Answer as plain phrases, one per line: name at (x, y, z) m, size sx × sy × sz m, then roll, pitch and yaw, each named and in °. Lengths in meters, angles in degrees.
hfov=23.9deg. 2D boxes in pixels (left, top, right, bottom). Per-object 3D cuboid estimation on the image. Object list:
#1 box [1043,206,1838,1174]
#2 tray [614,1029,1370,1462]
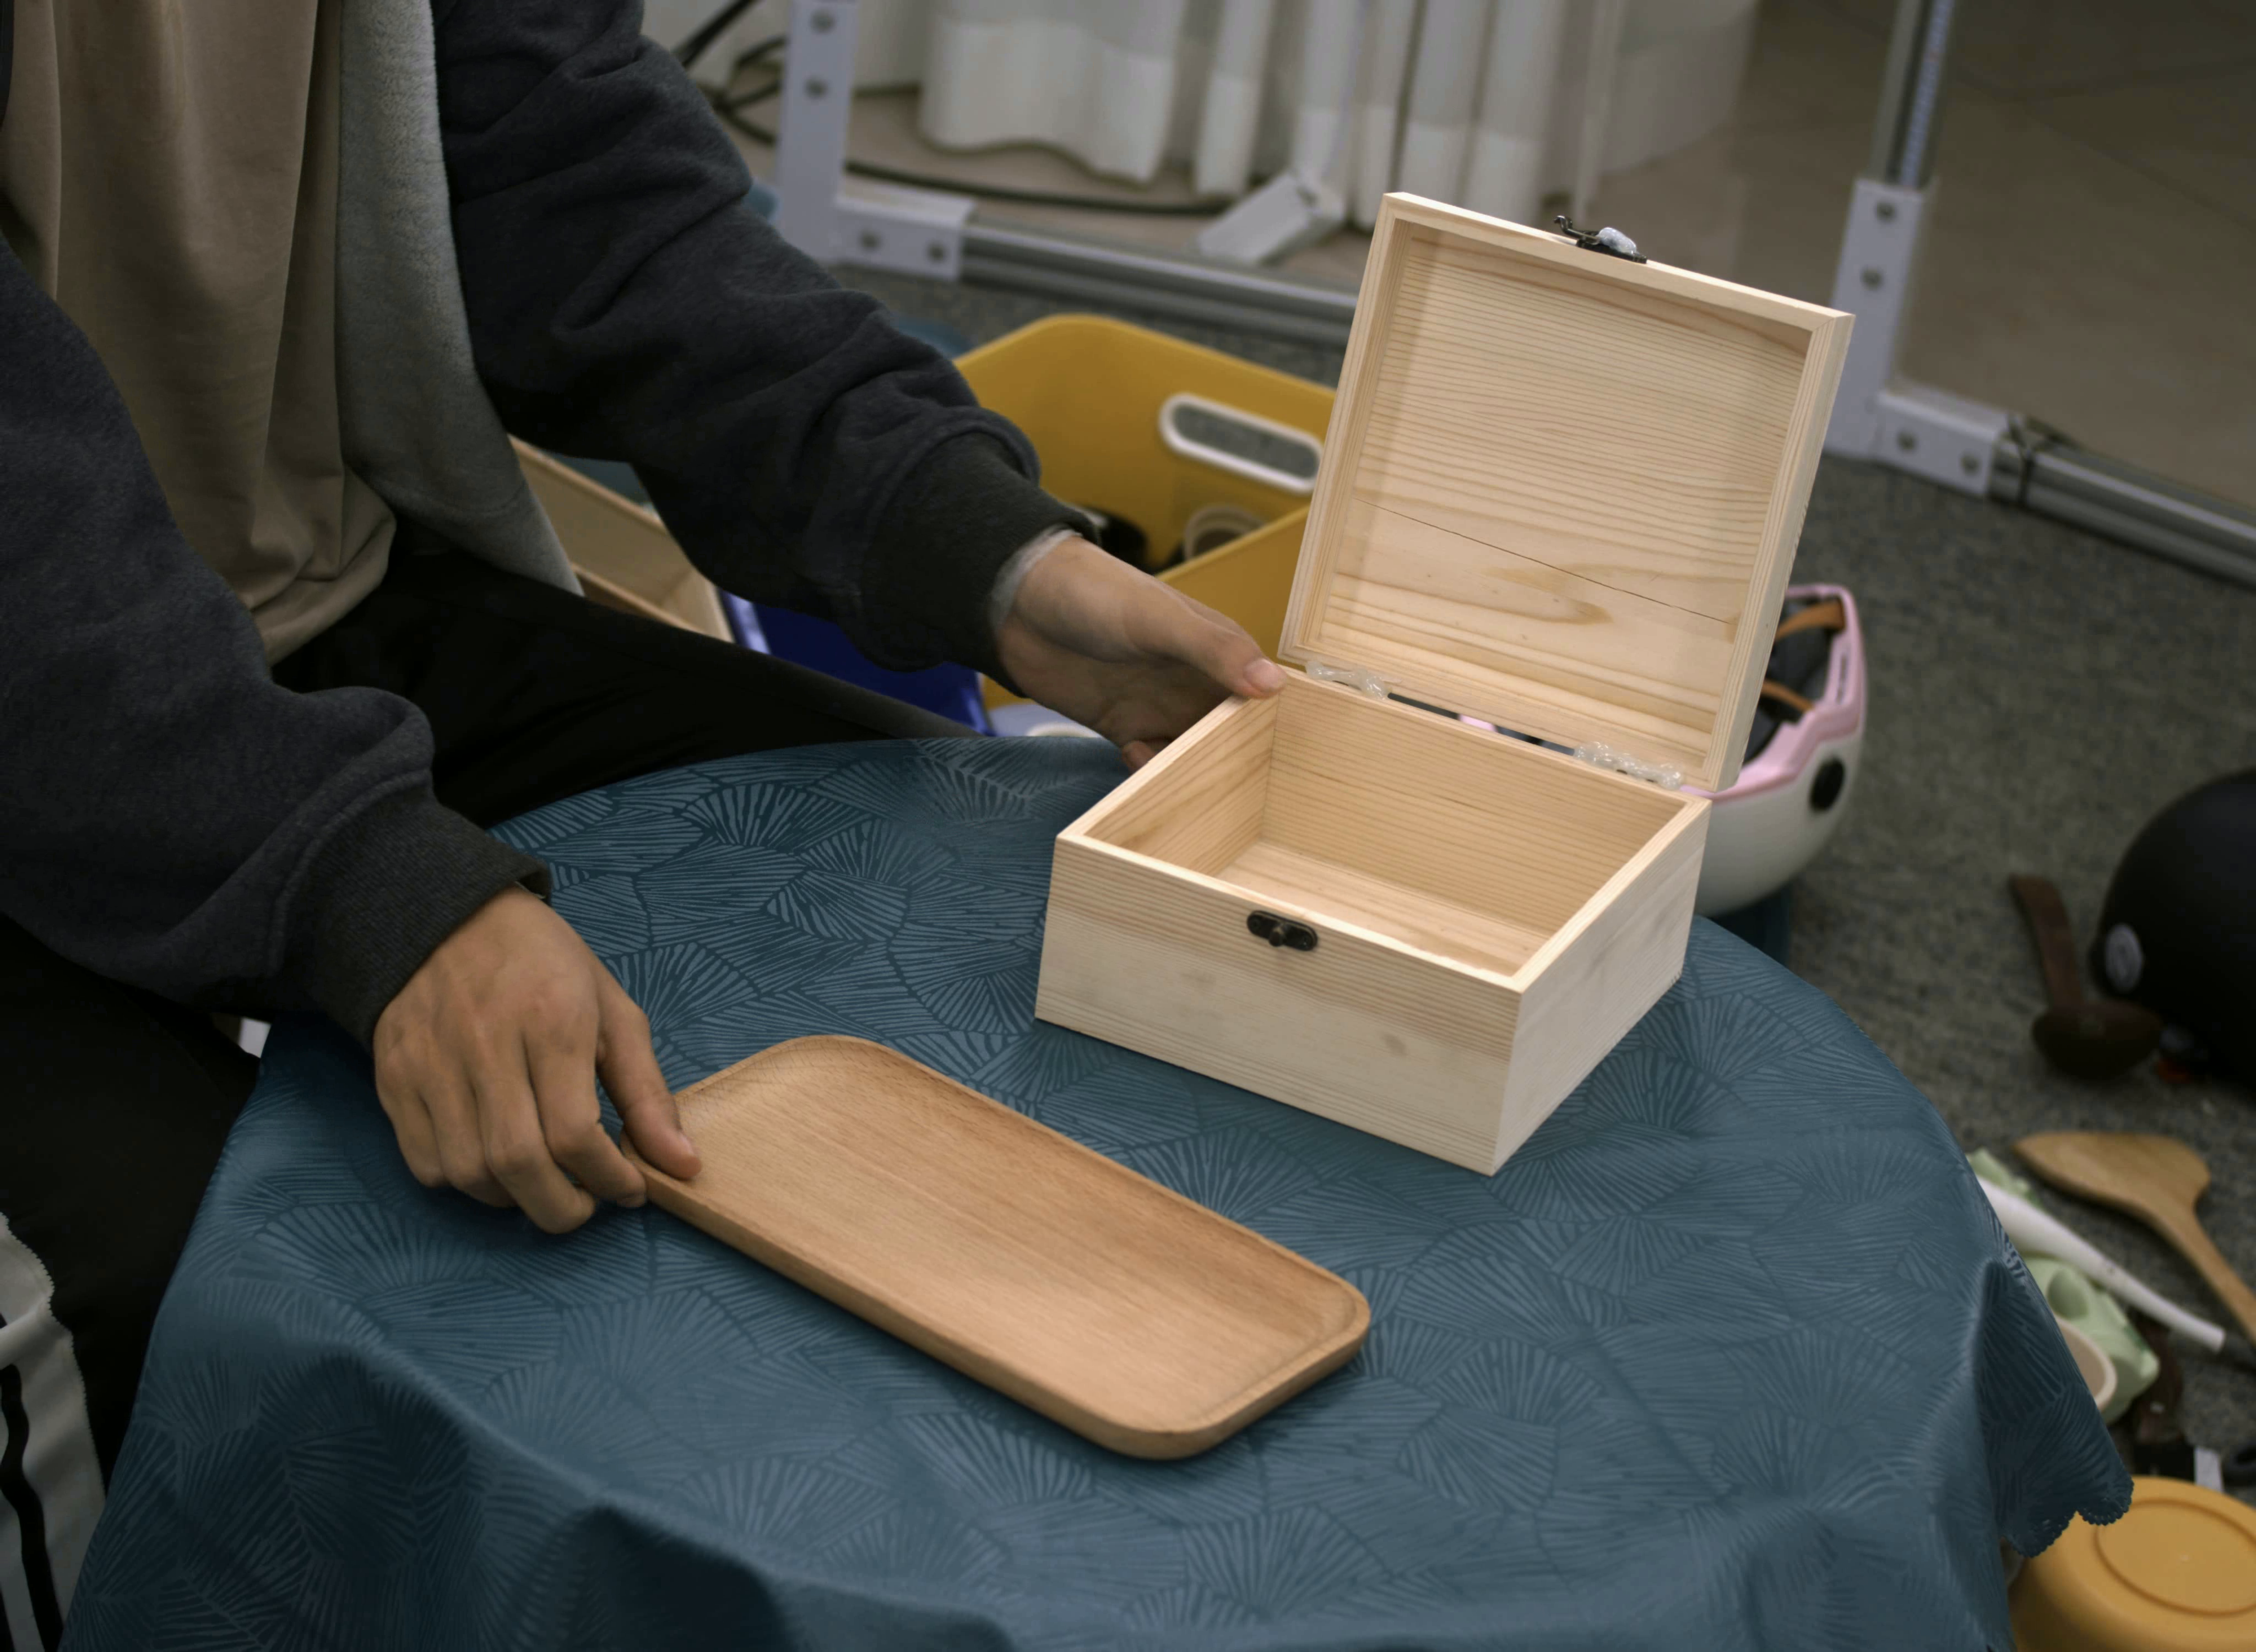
box at (0.113, -0.059, 1.916) m, size 0.182 × 0.252 × 0.265 m, roll 15°, pitch 26°, yaw 22°
tray at (-0.047, 0.135, 1.748) m, size 0.252 × 0.023 × 0.130 m, roll 25°, pitch 29°, yaw 33°
